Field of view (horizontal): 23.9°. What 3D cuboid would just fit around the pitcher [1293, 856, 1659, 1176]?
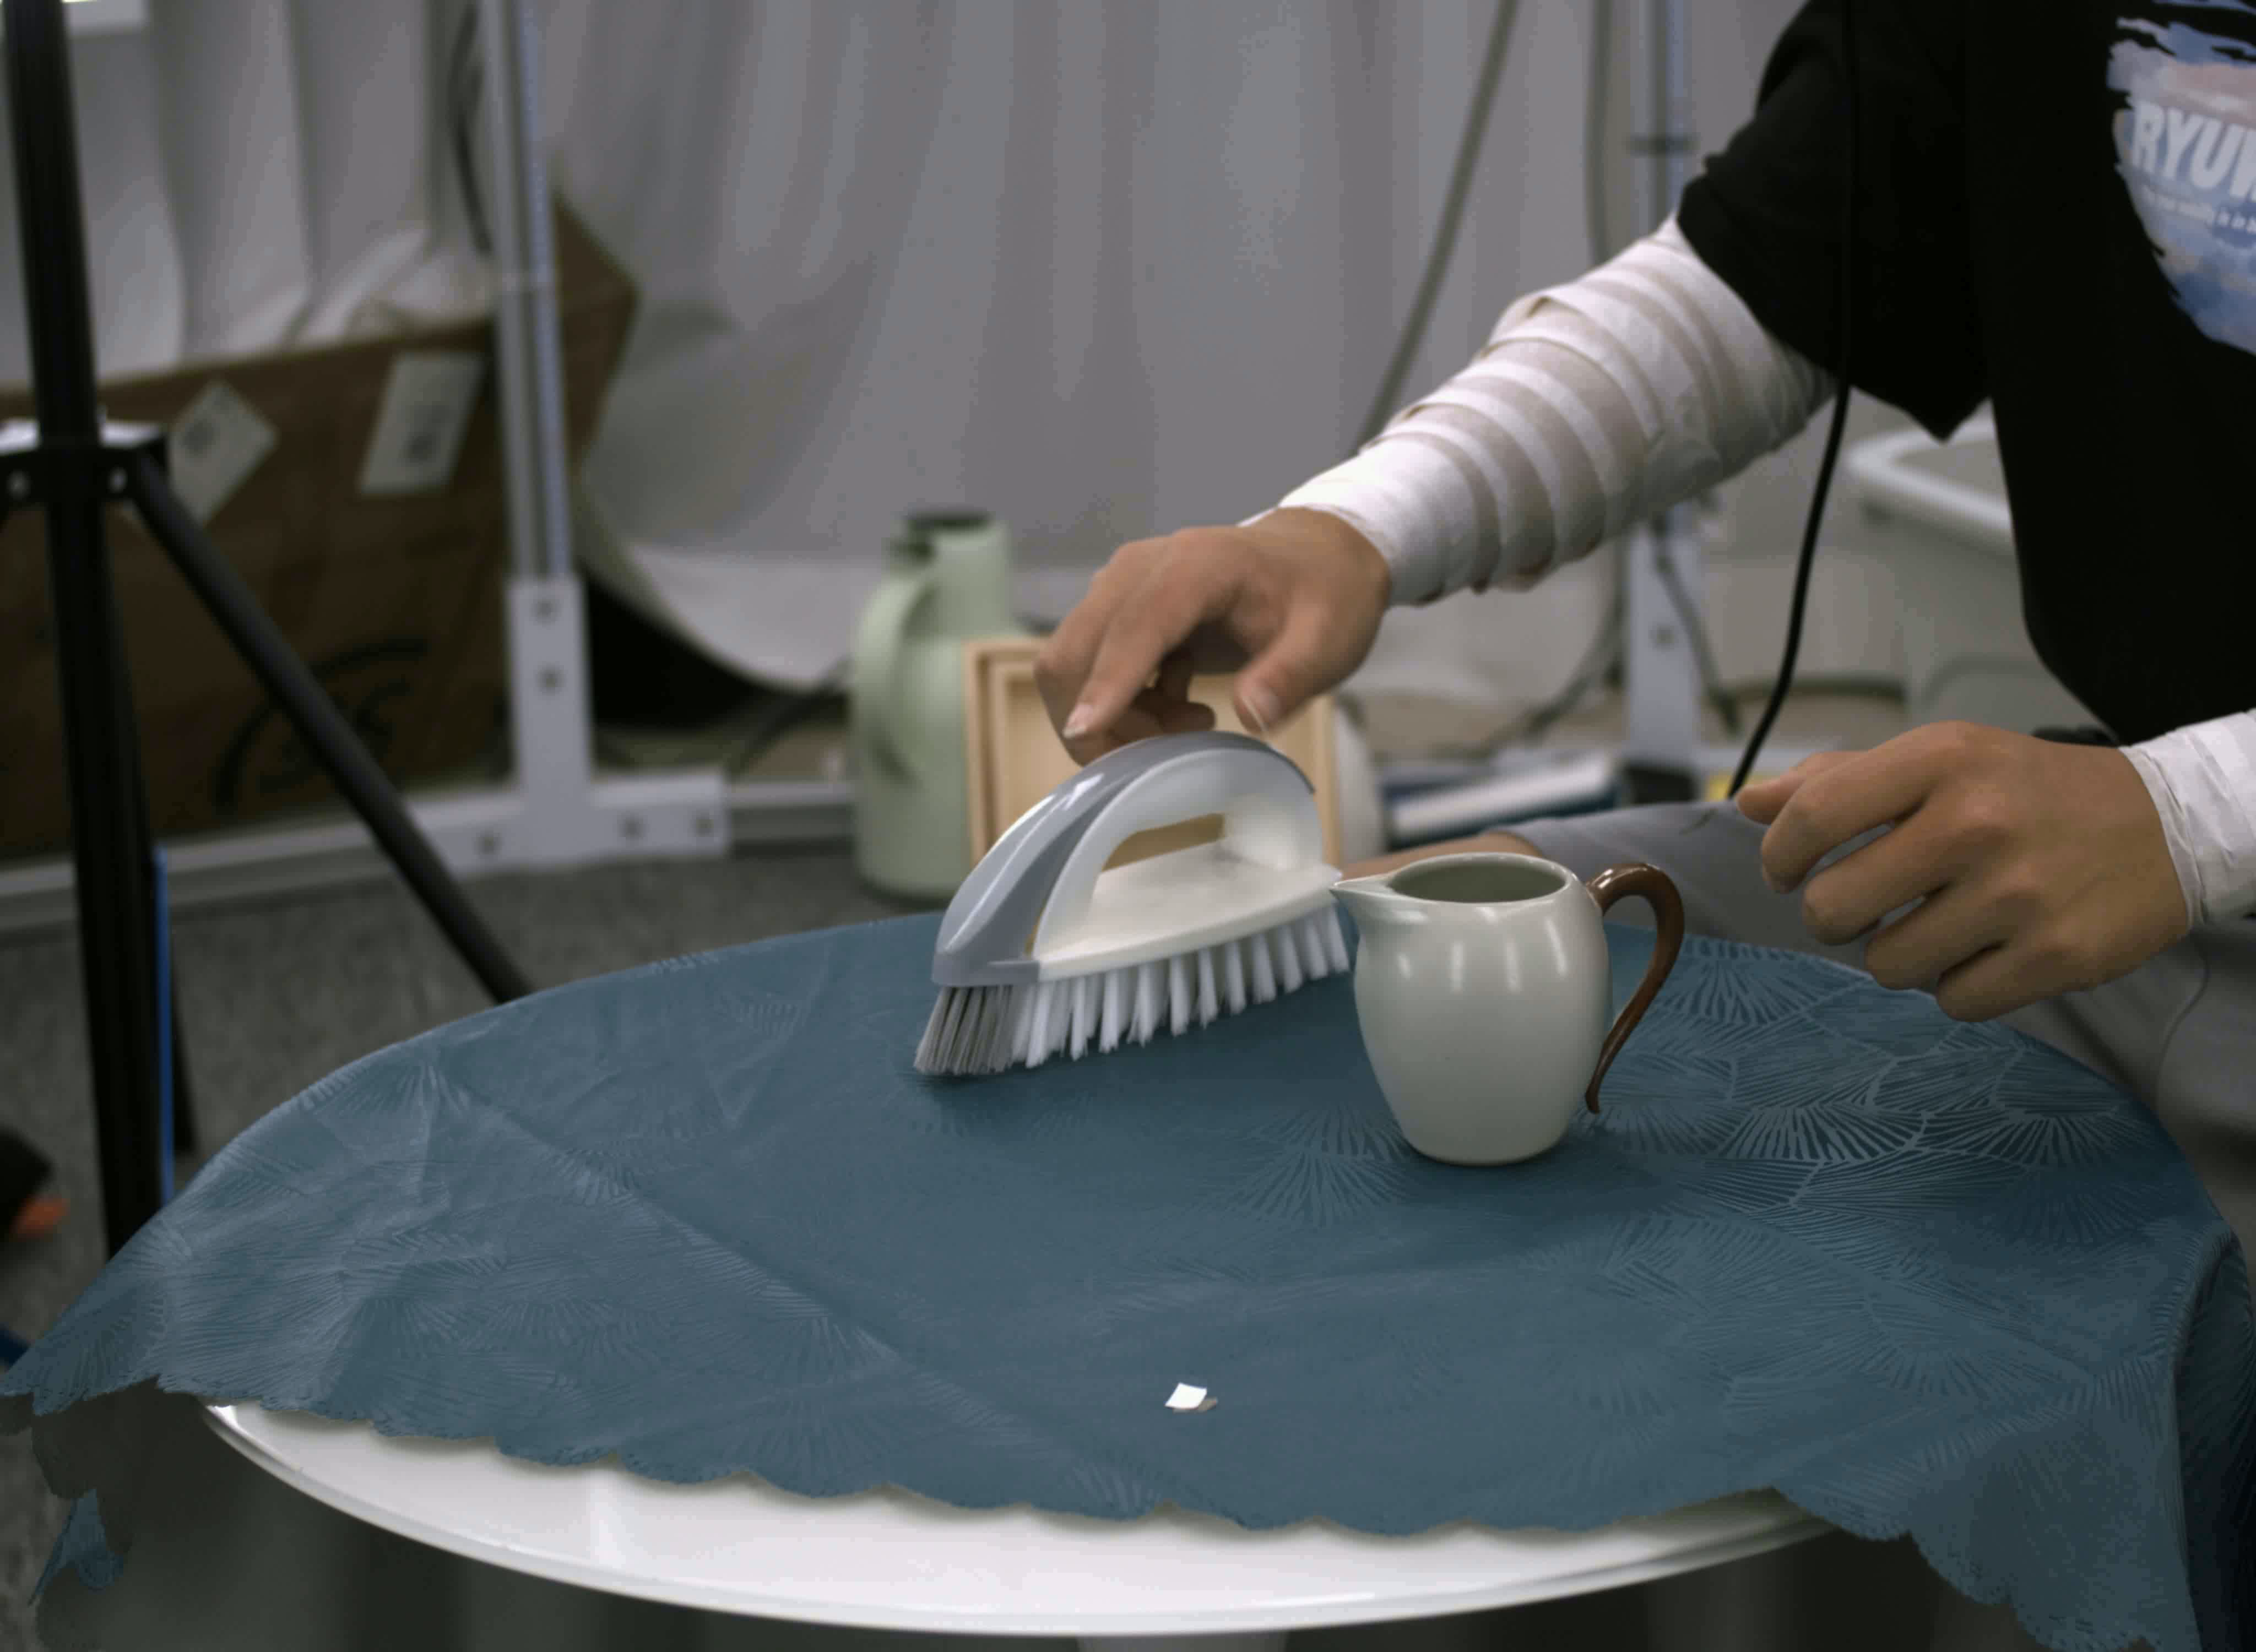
[{"bbox_3d":[0.104,0.054,1.576,0.117,0.088,0.077,-8,20,-18],"label":"pitcher"}]

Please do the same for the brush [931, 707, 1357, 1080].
[{"bbox_3d":[0.000,0.018,1.704,0.172,0.094,0.063,-20,22,-37],"label":"brush"}]
